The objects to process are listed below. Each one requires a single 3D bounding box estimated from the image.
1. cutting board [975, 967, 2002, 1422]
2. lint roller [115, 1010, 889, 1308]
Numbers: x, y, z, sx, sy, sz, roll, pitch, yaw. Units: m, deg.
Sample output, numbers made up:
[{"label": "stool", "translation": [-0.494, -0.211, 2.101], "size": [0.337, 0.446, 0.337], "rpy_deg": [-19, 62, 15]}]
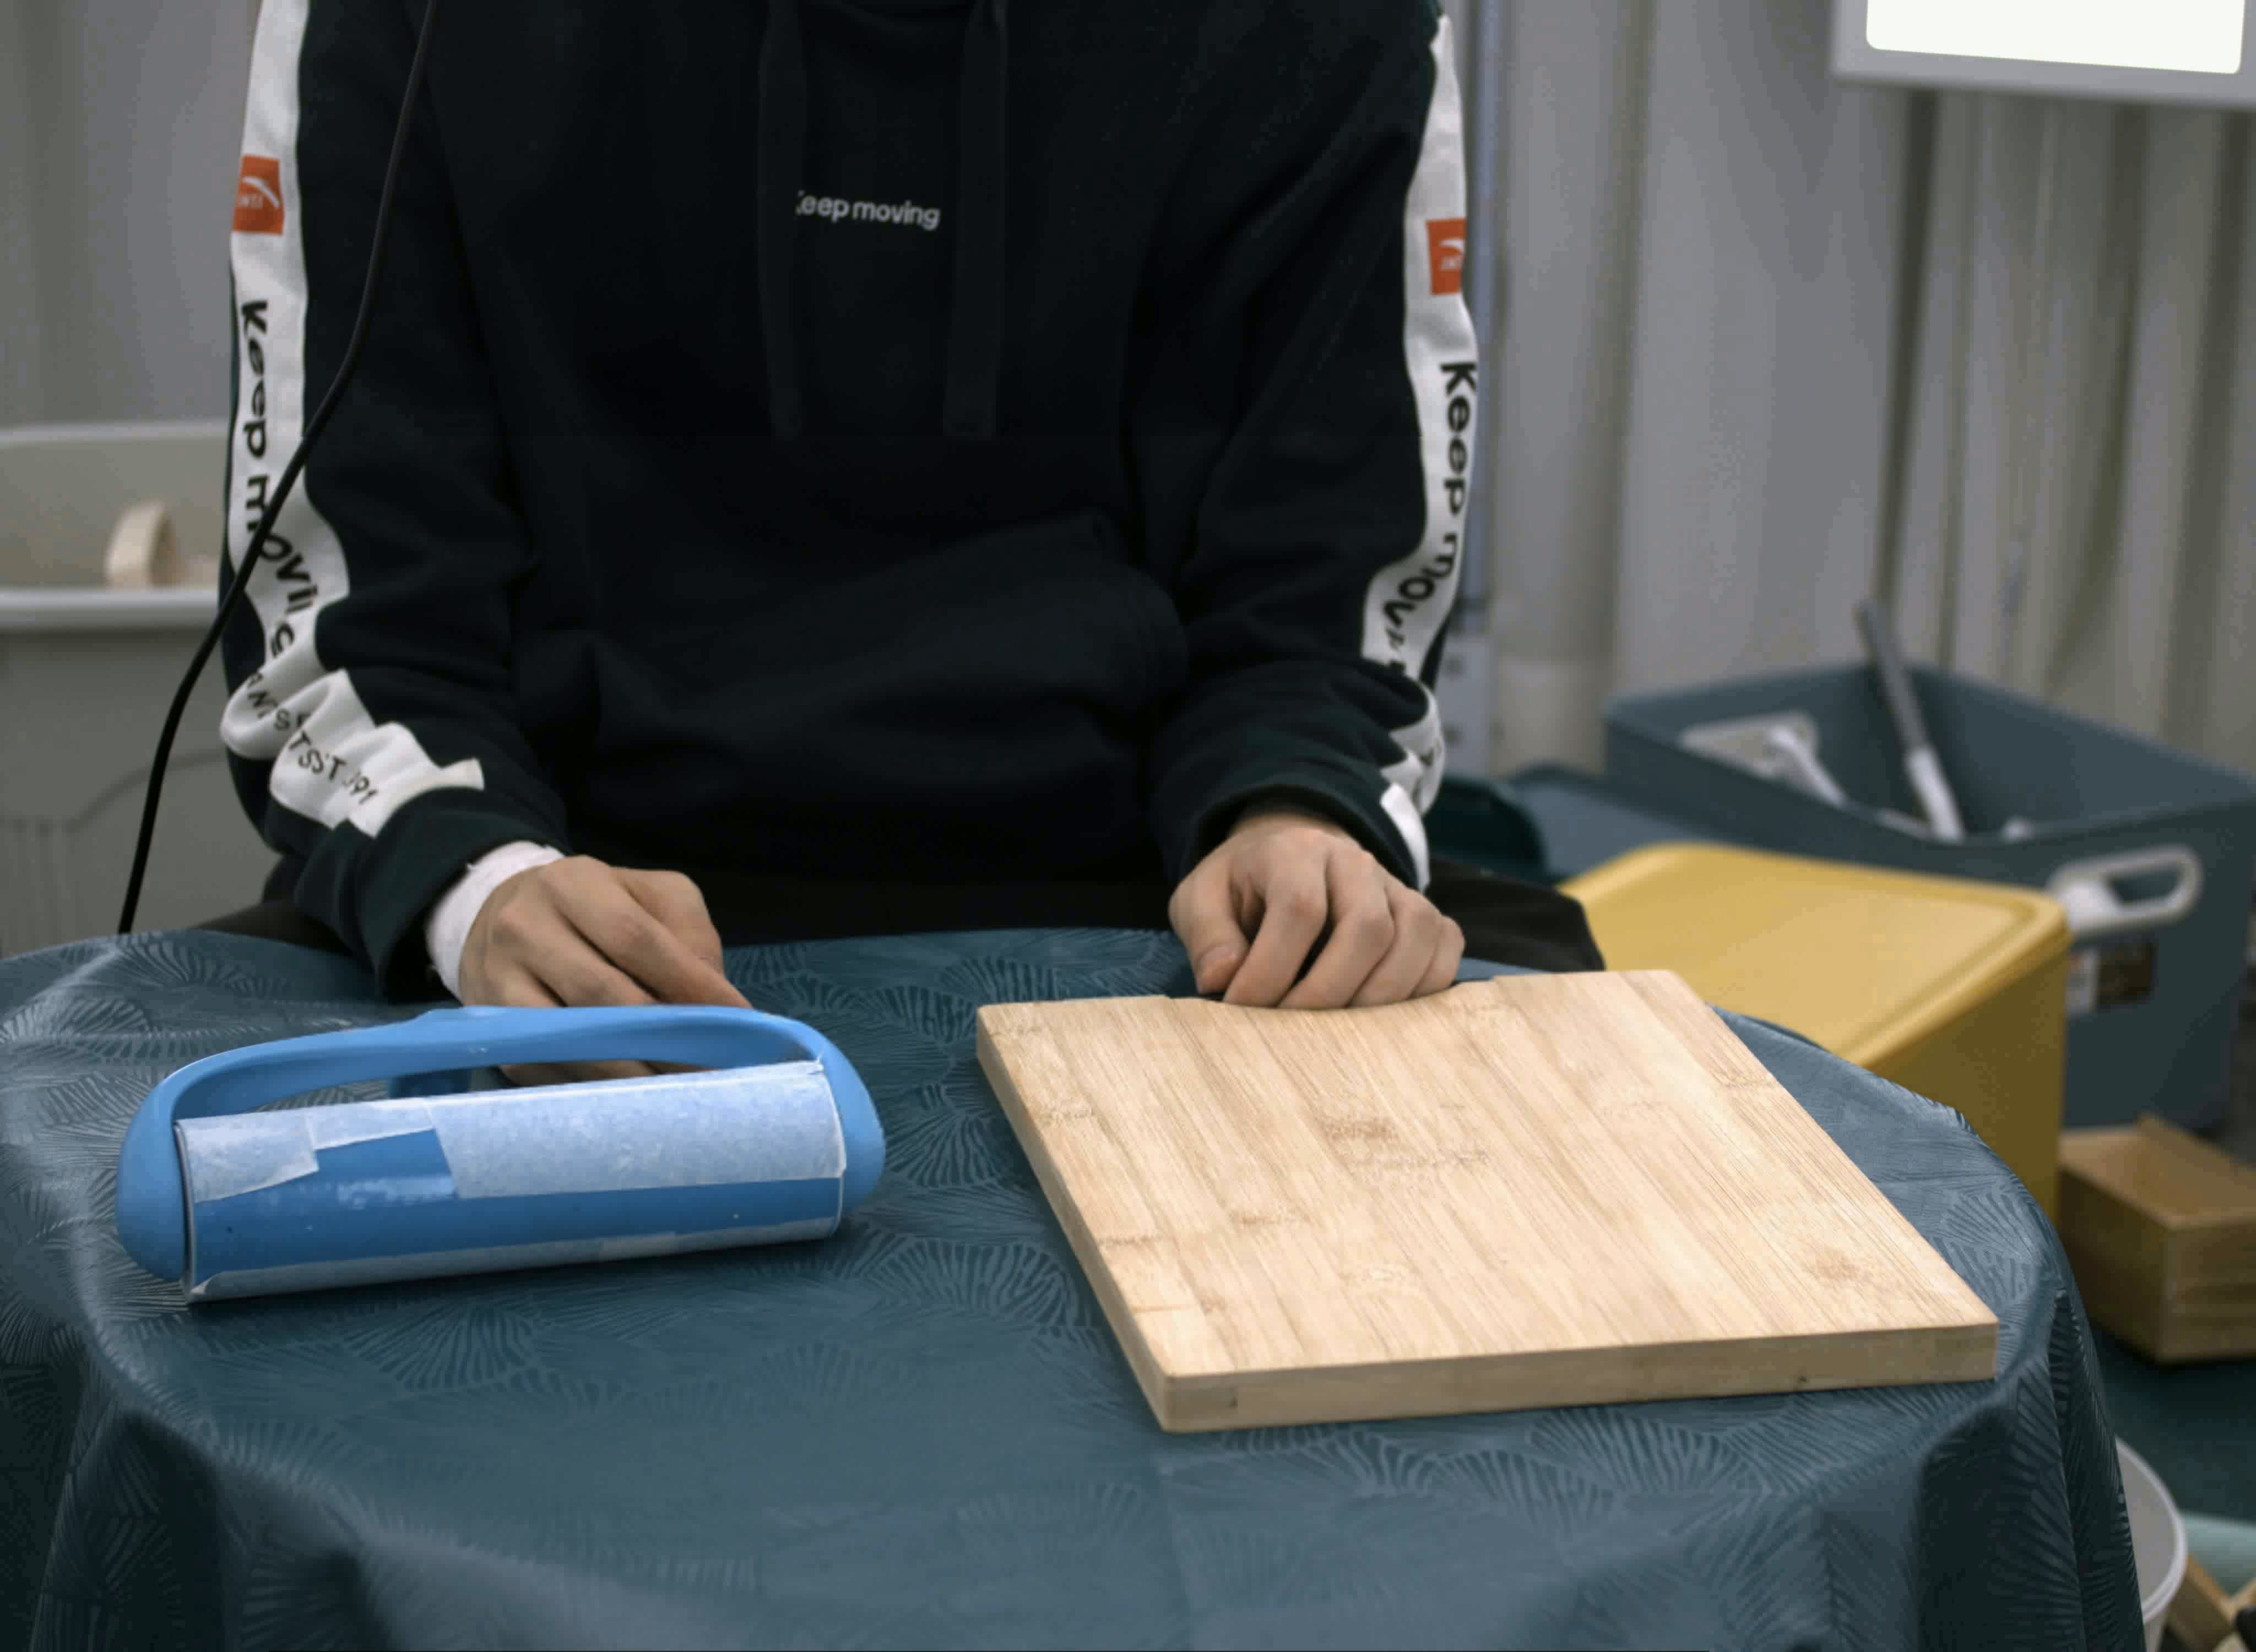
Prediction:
[{"label": "cutting board", "translation": [0.097, 0.107, 1.612], "size": [0.251, 0.024, 0.345], "rpy_deg": [-3, 16, -11]}, {"label": "lint roller", "translation": [-0.201, 0.088, 1.595], "size": [0.229, 0.068, 0.178], "rpy_deg": [-7, 18, -19]}]
